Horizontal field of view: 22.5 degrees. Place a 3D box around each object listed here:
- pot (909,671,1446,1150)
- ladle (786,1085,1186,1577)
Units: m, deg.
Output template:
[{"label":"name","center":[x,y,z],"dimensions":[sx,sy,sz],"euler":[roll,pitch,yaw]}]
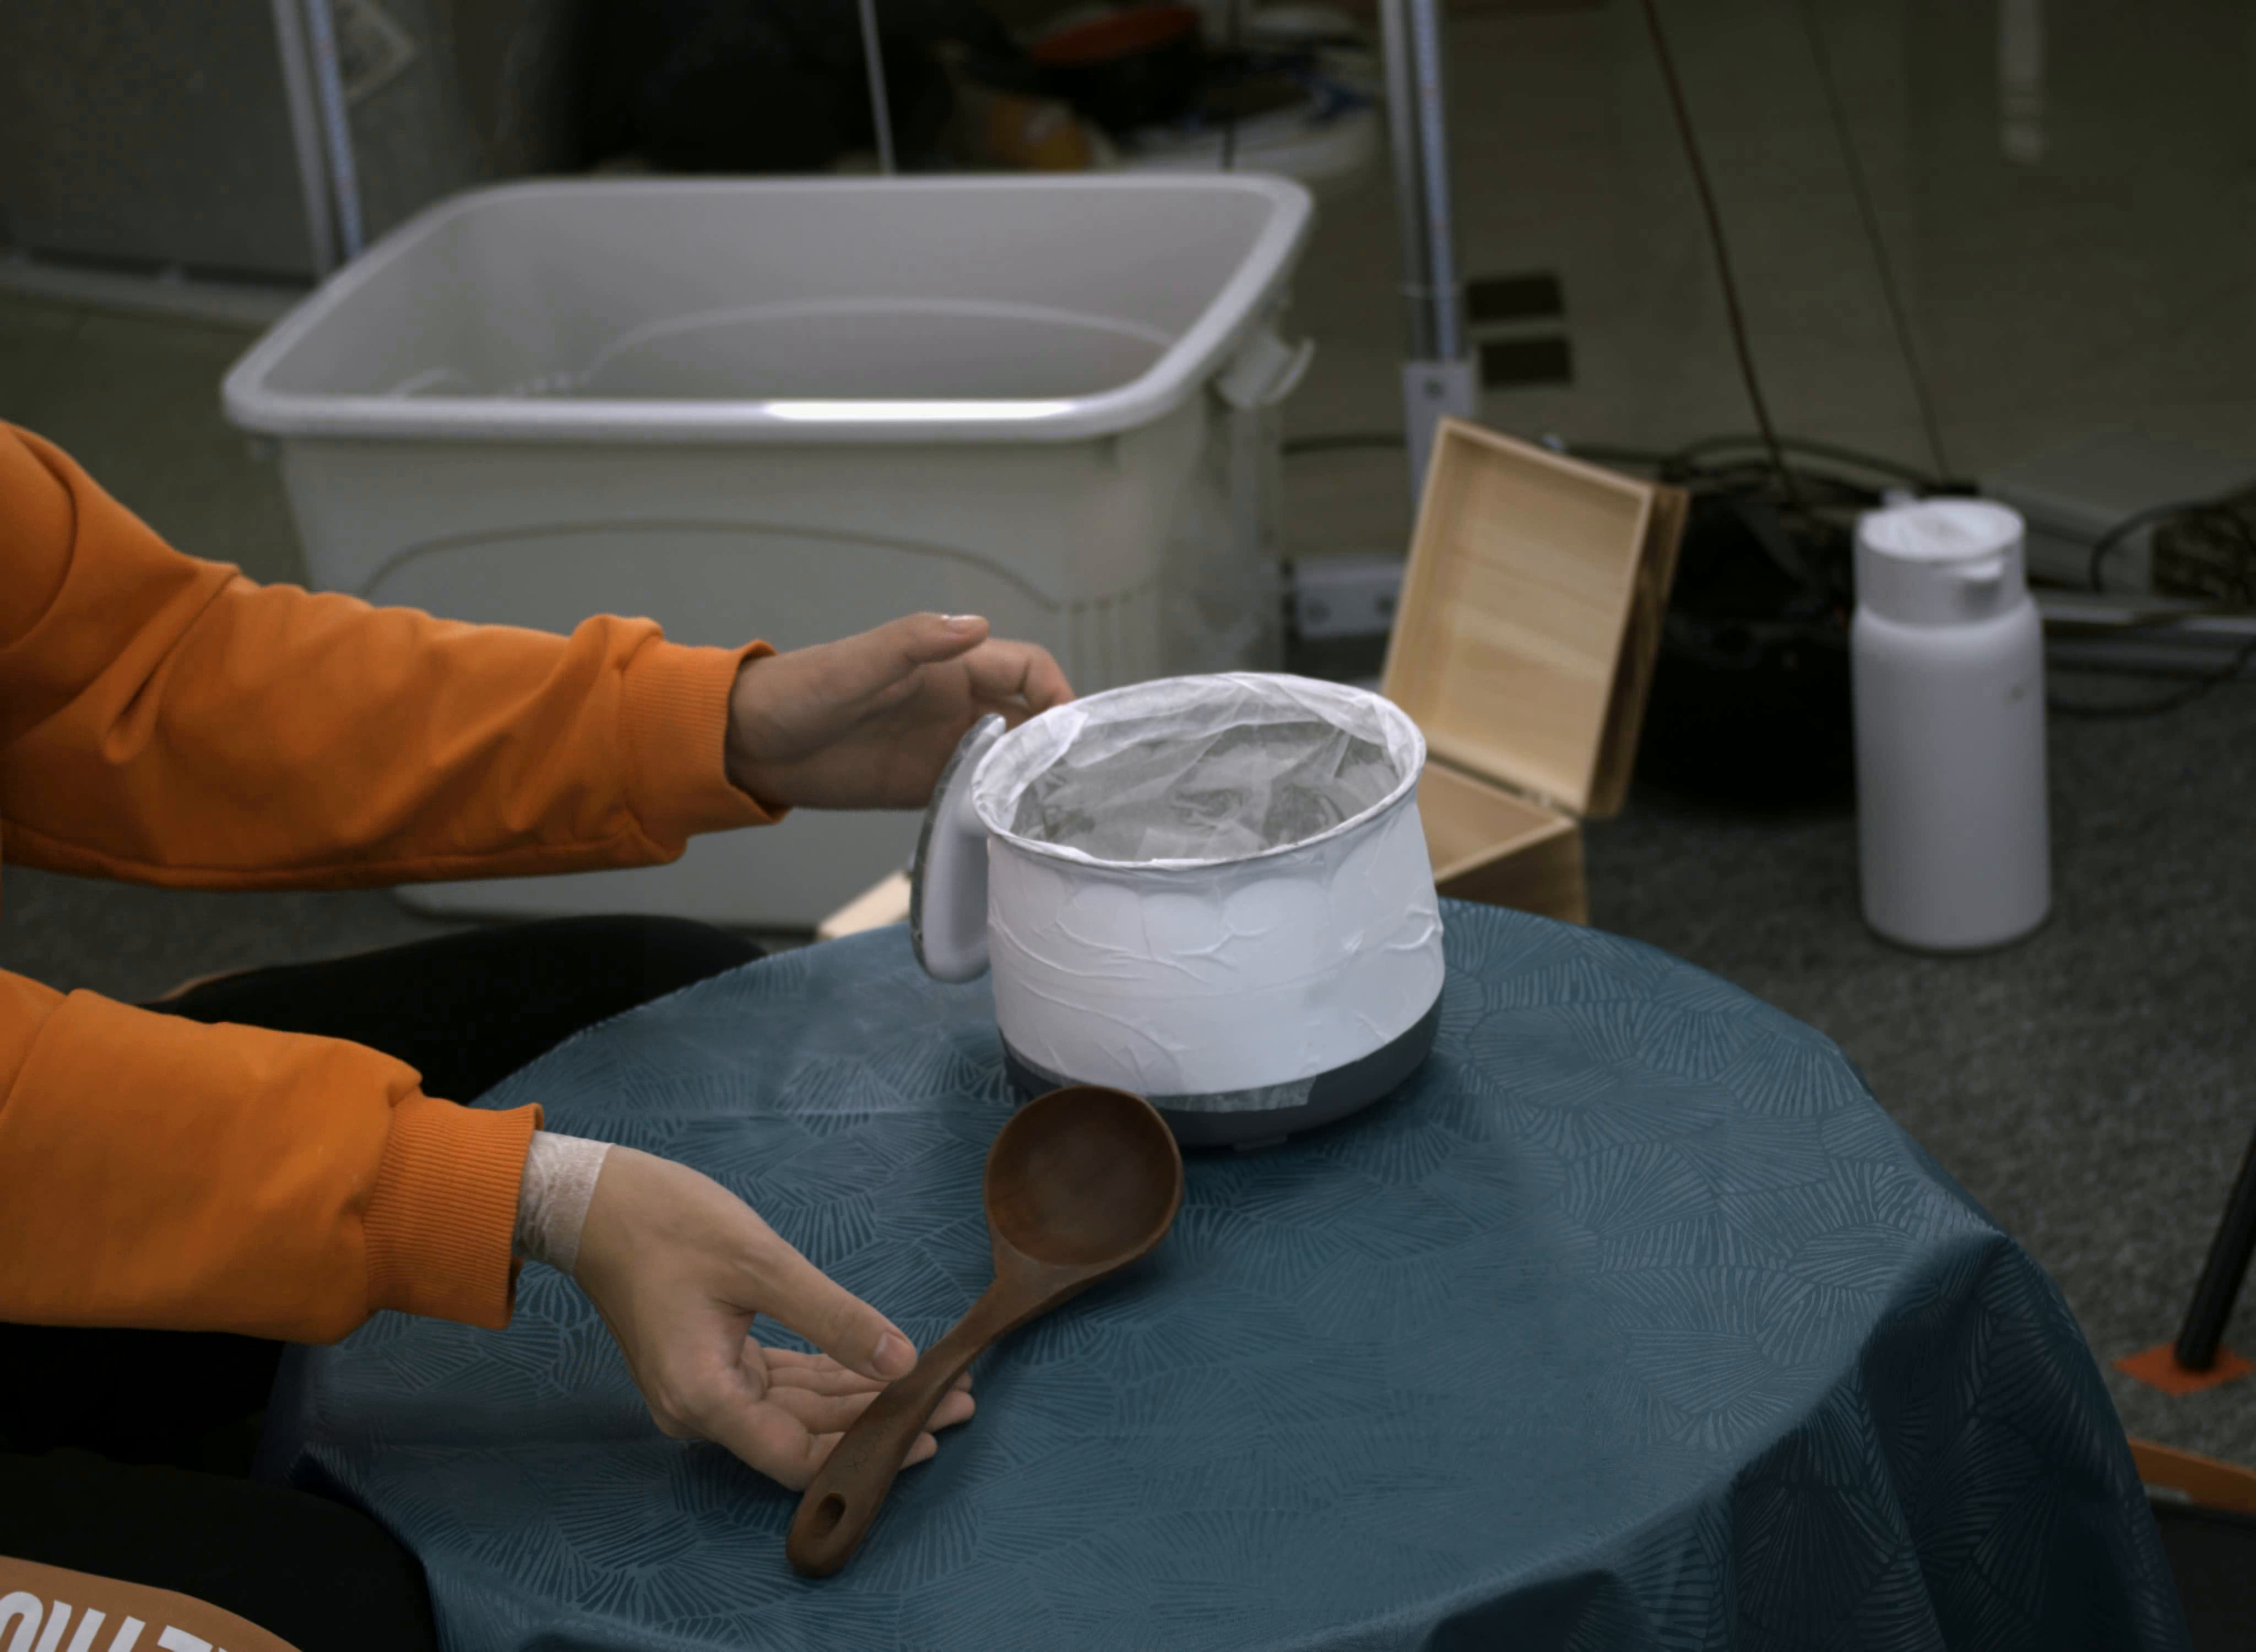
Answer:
[{"label":"pot","center":[0.010,0.030,2.214],"dimensions":[0.232,0.139,0.177],"euler":[11,30,32]},{"label":"ladle","center":[-0.055,0.174,2.010],"dimensions":[0.076,0.066,0.257],"euler":[14,30,20]}]
